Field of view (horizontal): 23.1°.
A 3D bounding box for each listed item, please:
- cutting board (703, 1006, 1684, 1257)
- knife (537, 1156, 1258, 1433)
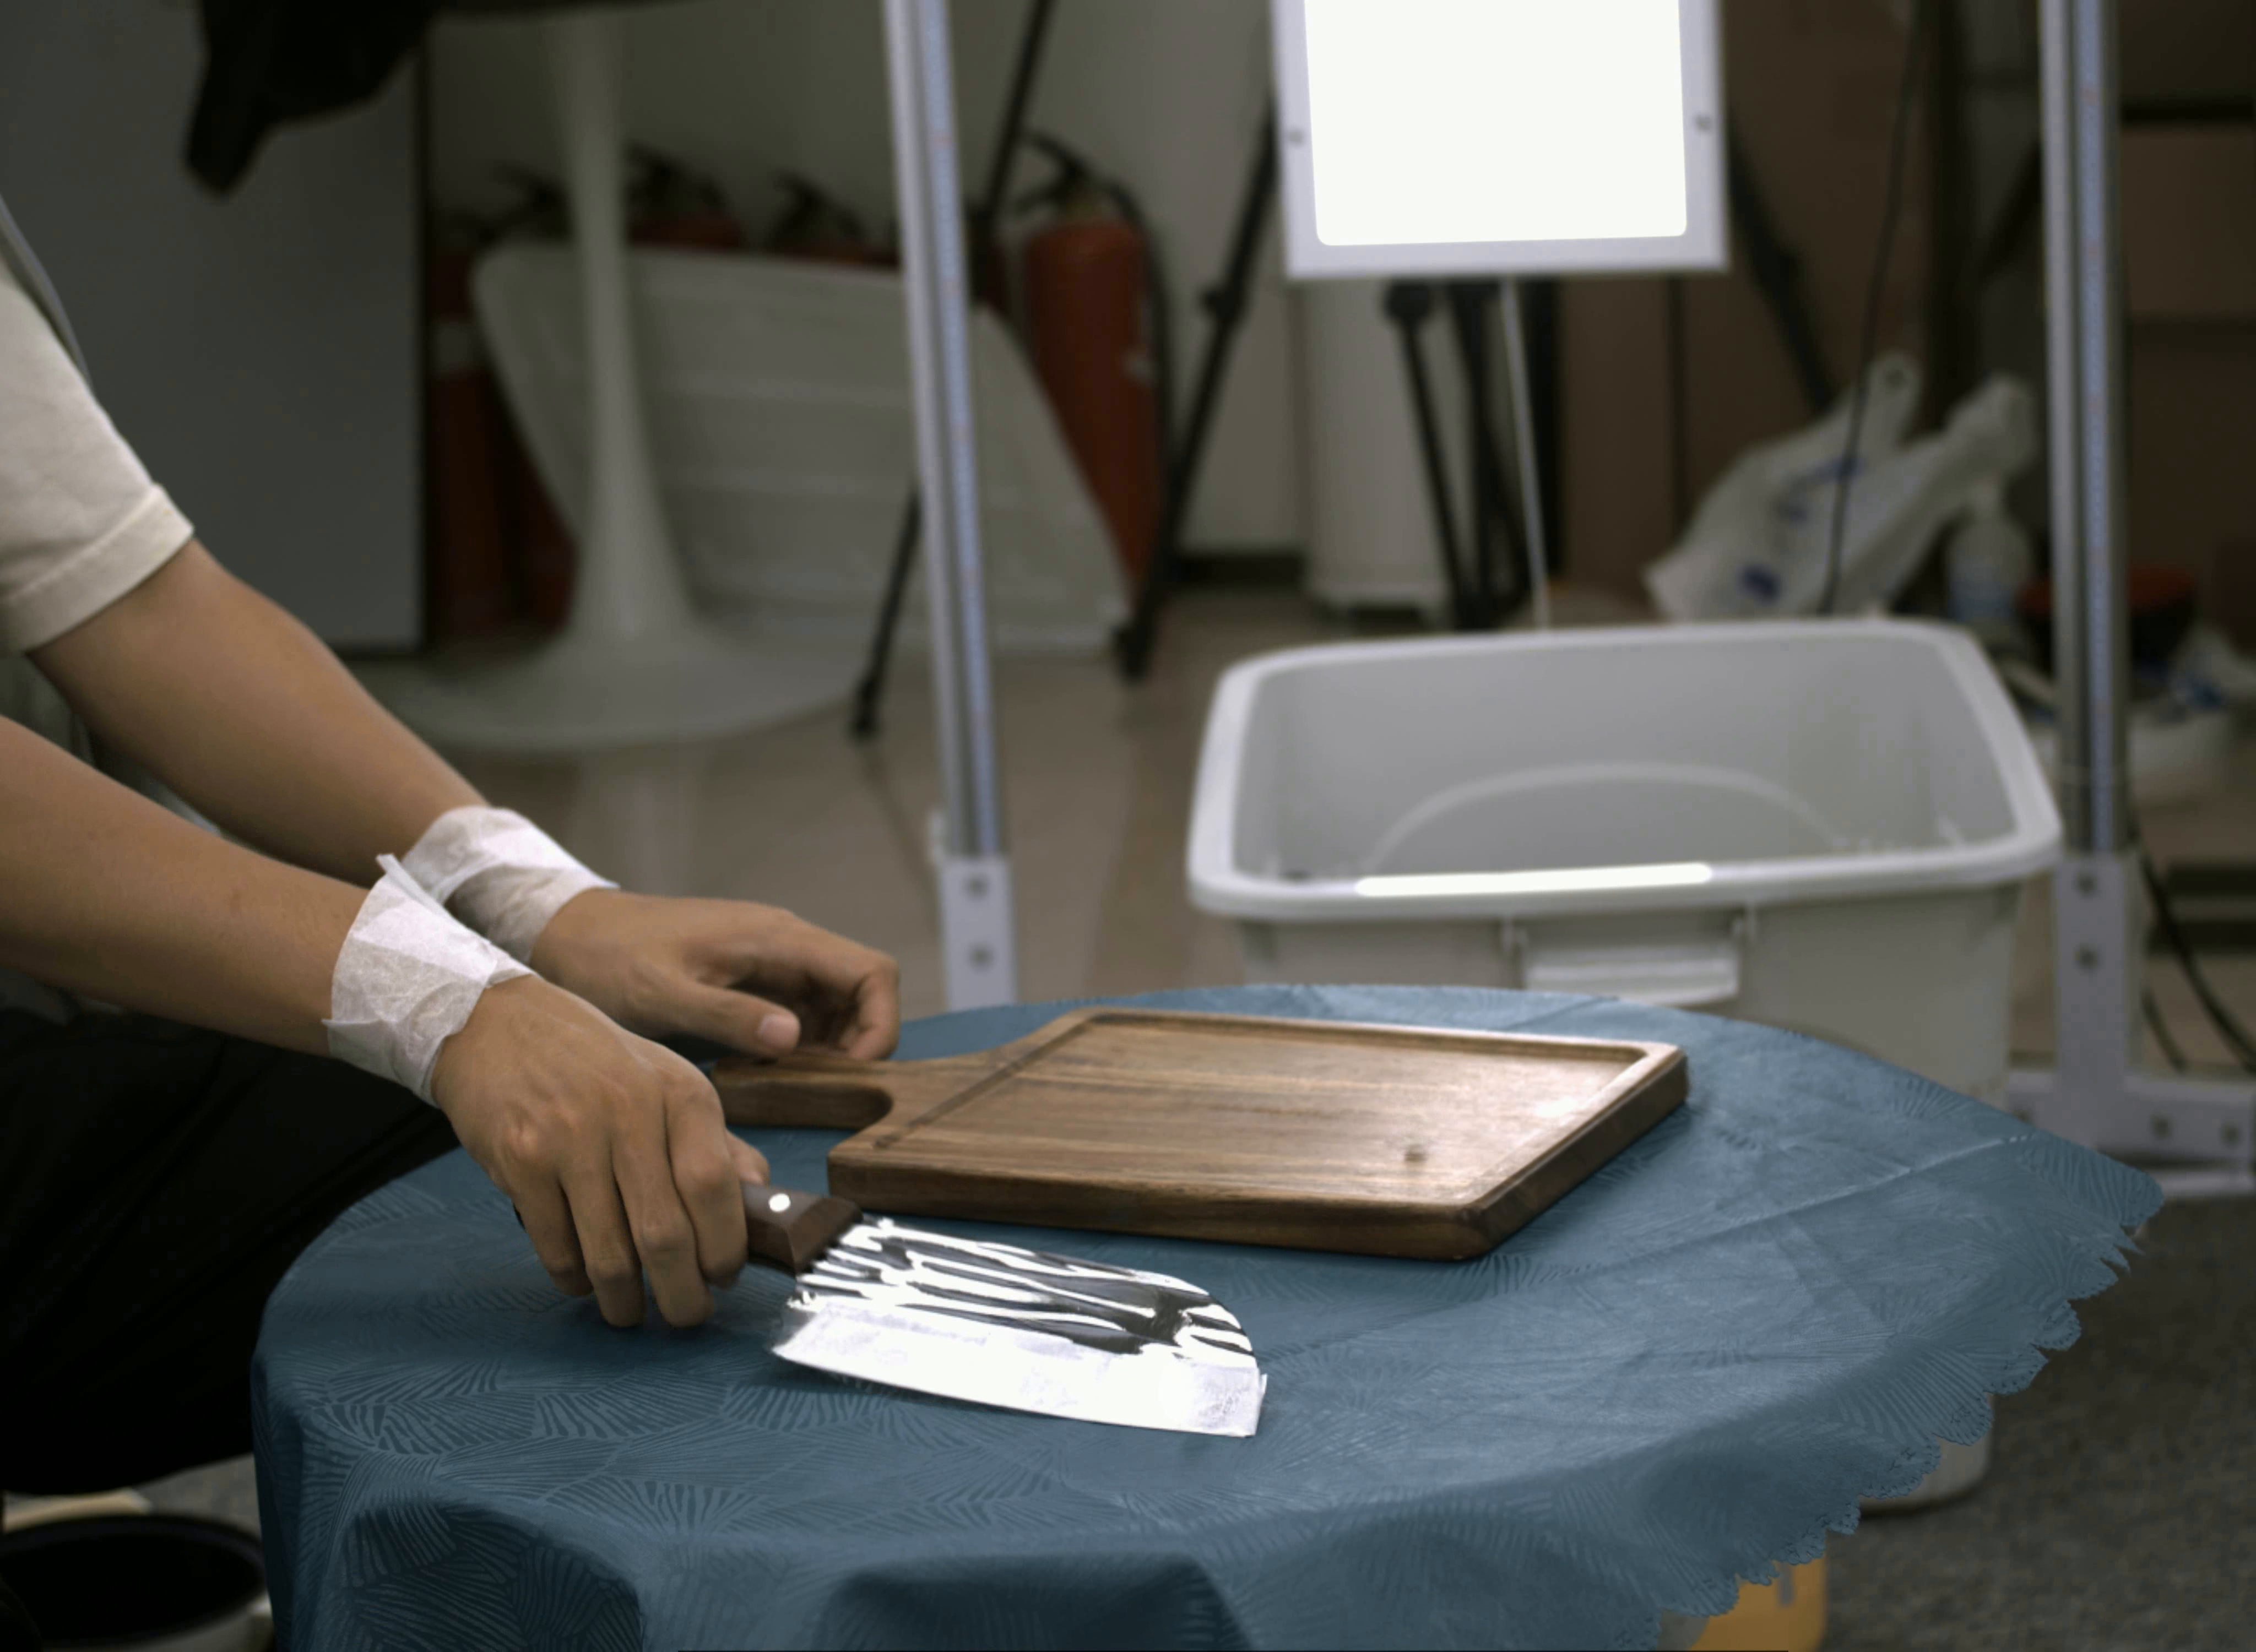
[{"bbox_3d":[0.002,0.102,1.953,0.359,0.023,0.196,2,15,30],"label":"cutting board"},{"bbox_3d":[-0.080,0.149,1.748,0.305,0.024,0.067,9,41,33],"label":"knife"}]
